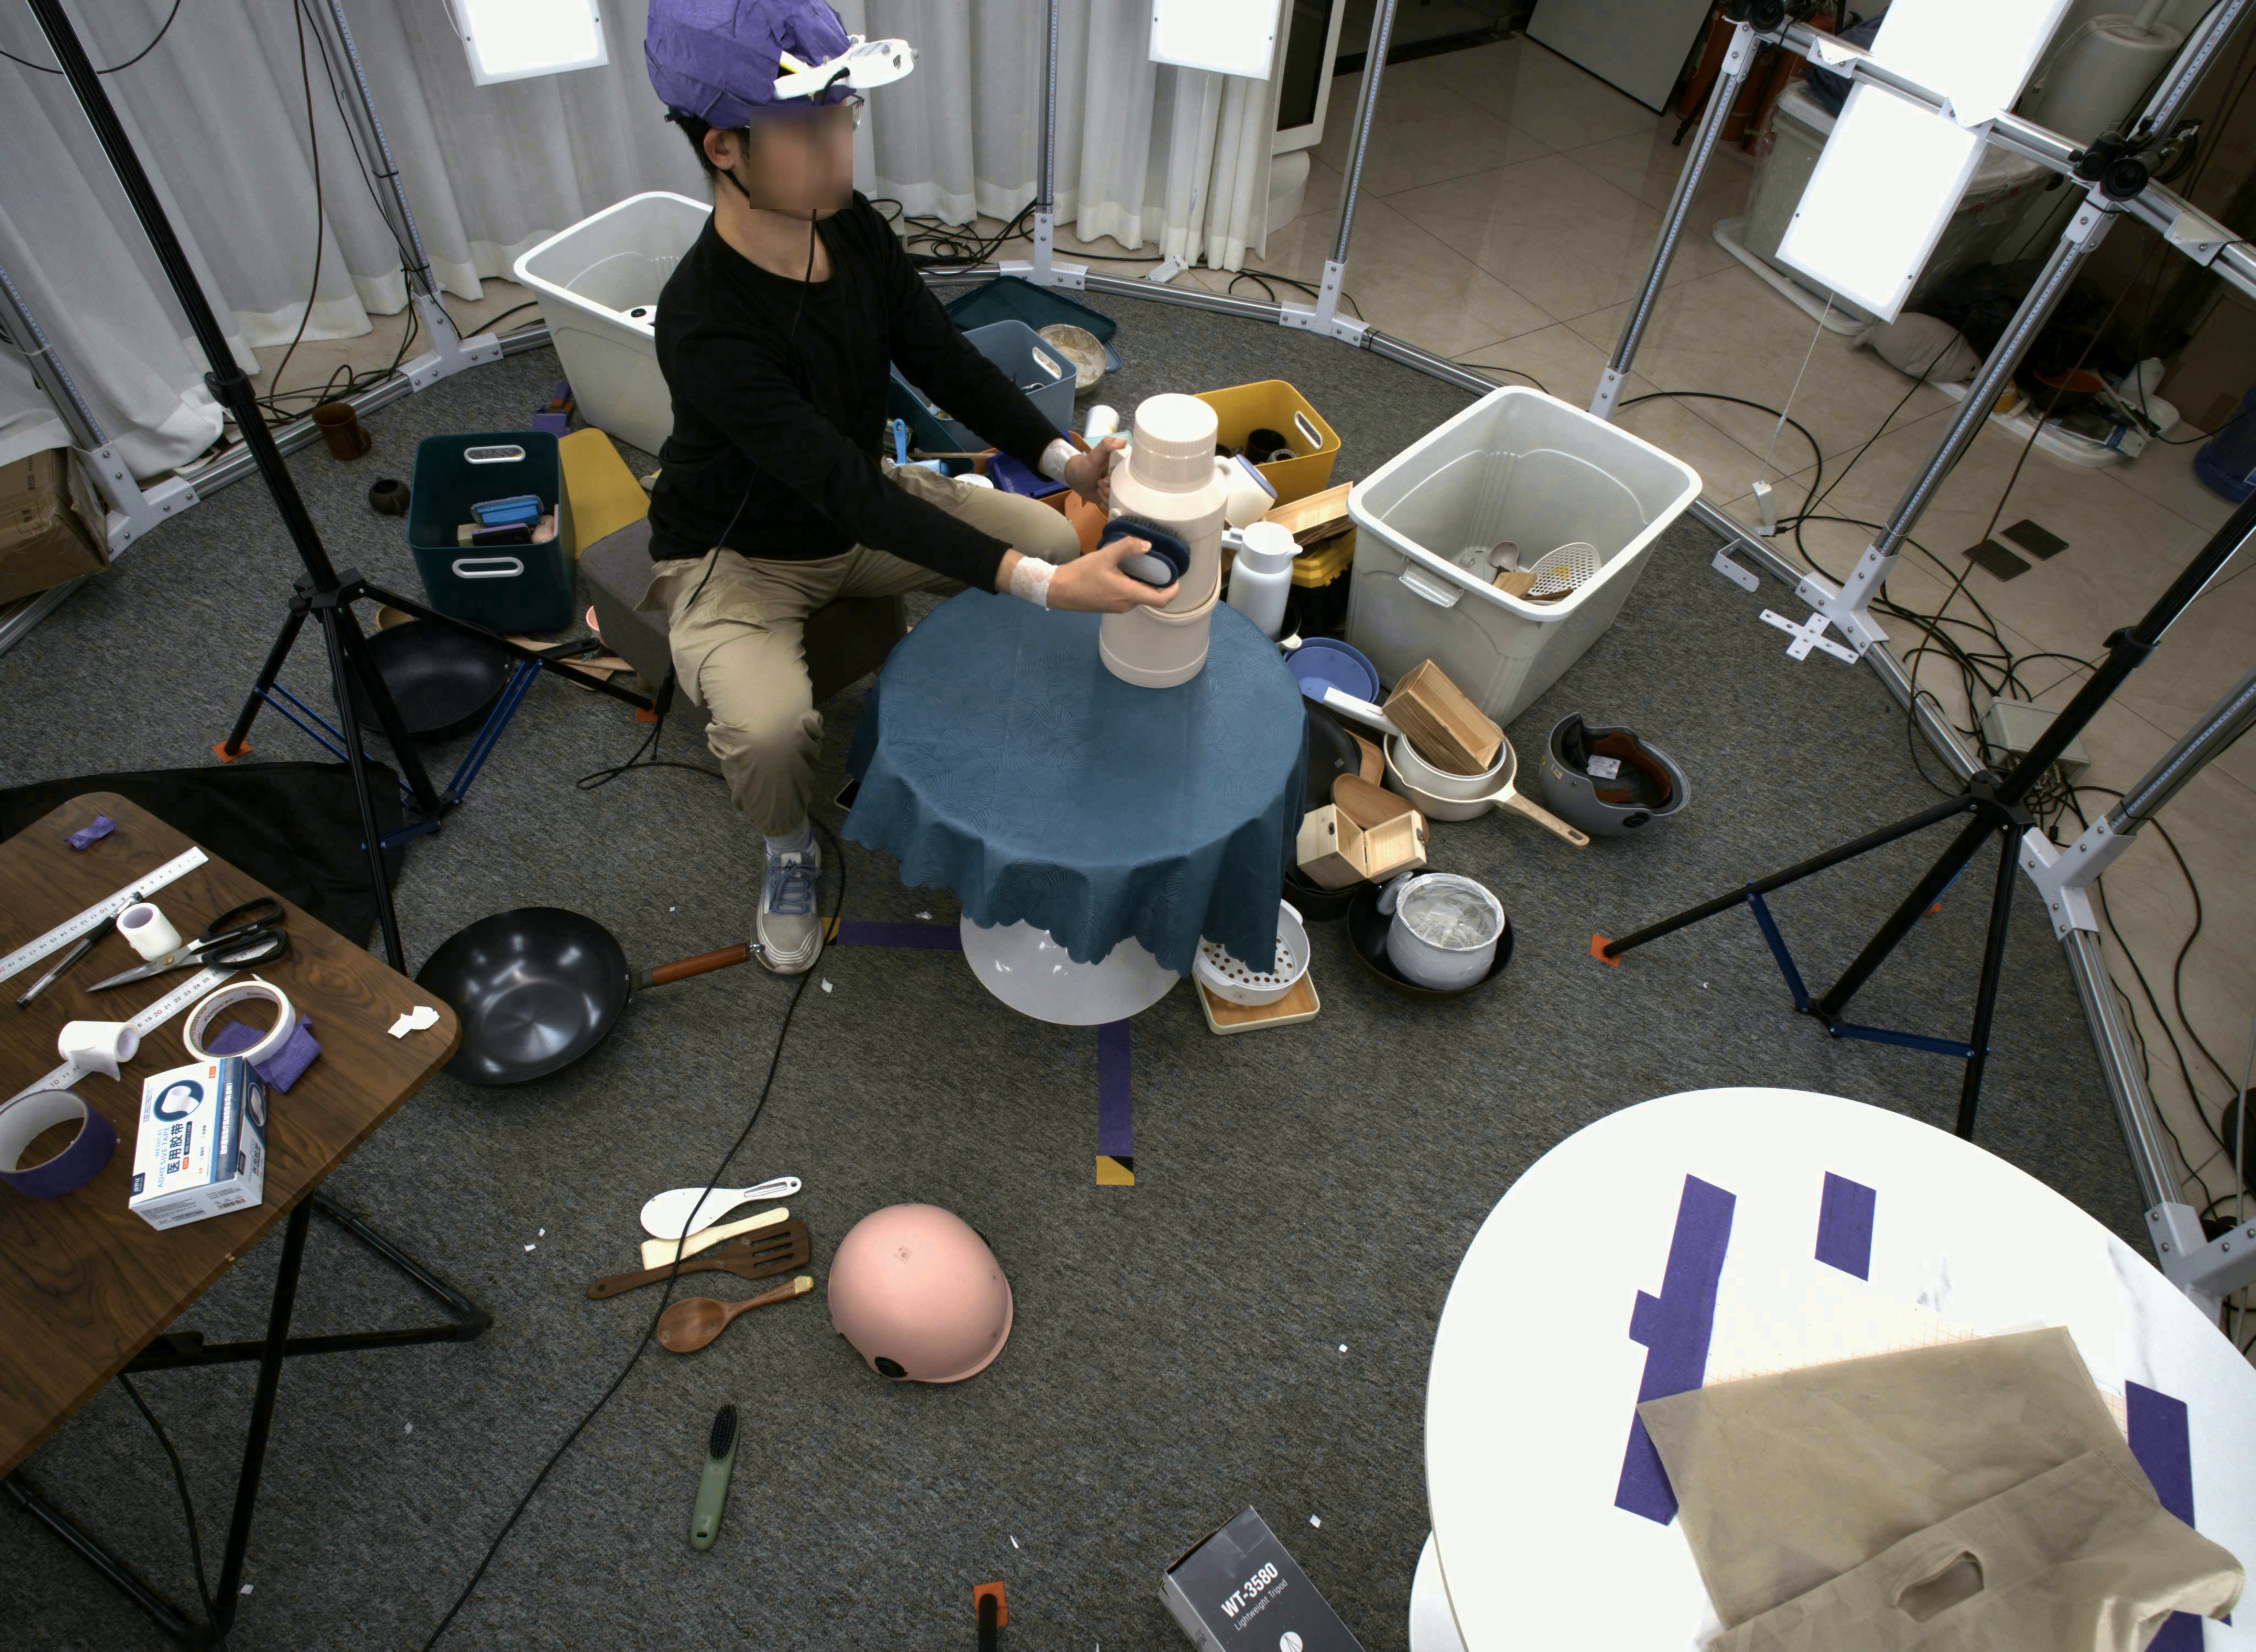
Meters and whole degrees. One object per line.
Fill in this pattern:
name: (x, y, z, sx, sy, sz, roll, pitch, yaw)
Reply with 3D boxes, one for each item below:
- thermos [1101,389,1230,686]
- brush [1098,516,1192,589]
thermos: (0.042, -0.396, 1.760, 0.176, 0.396, 0.211, -28, 57, -24)
brush: (0.023, -0.350, 1.637, 0.122, 0.066, 0.062, 24, 56, 10)
